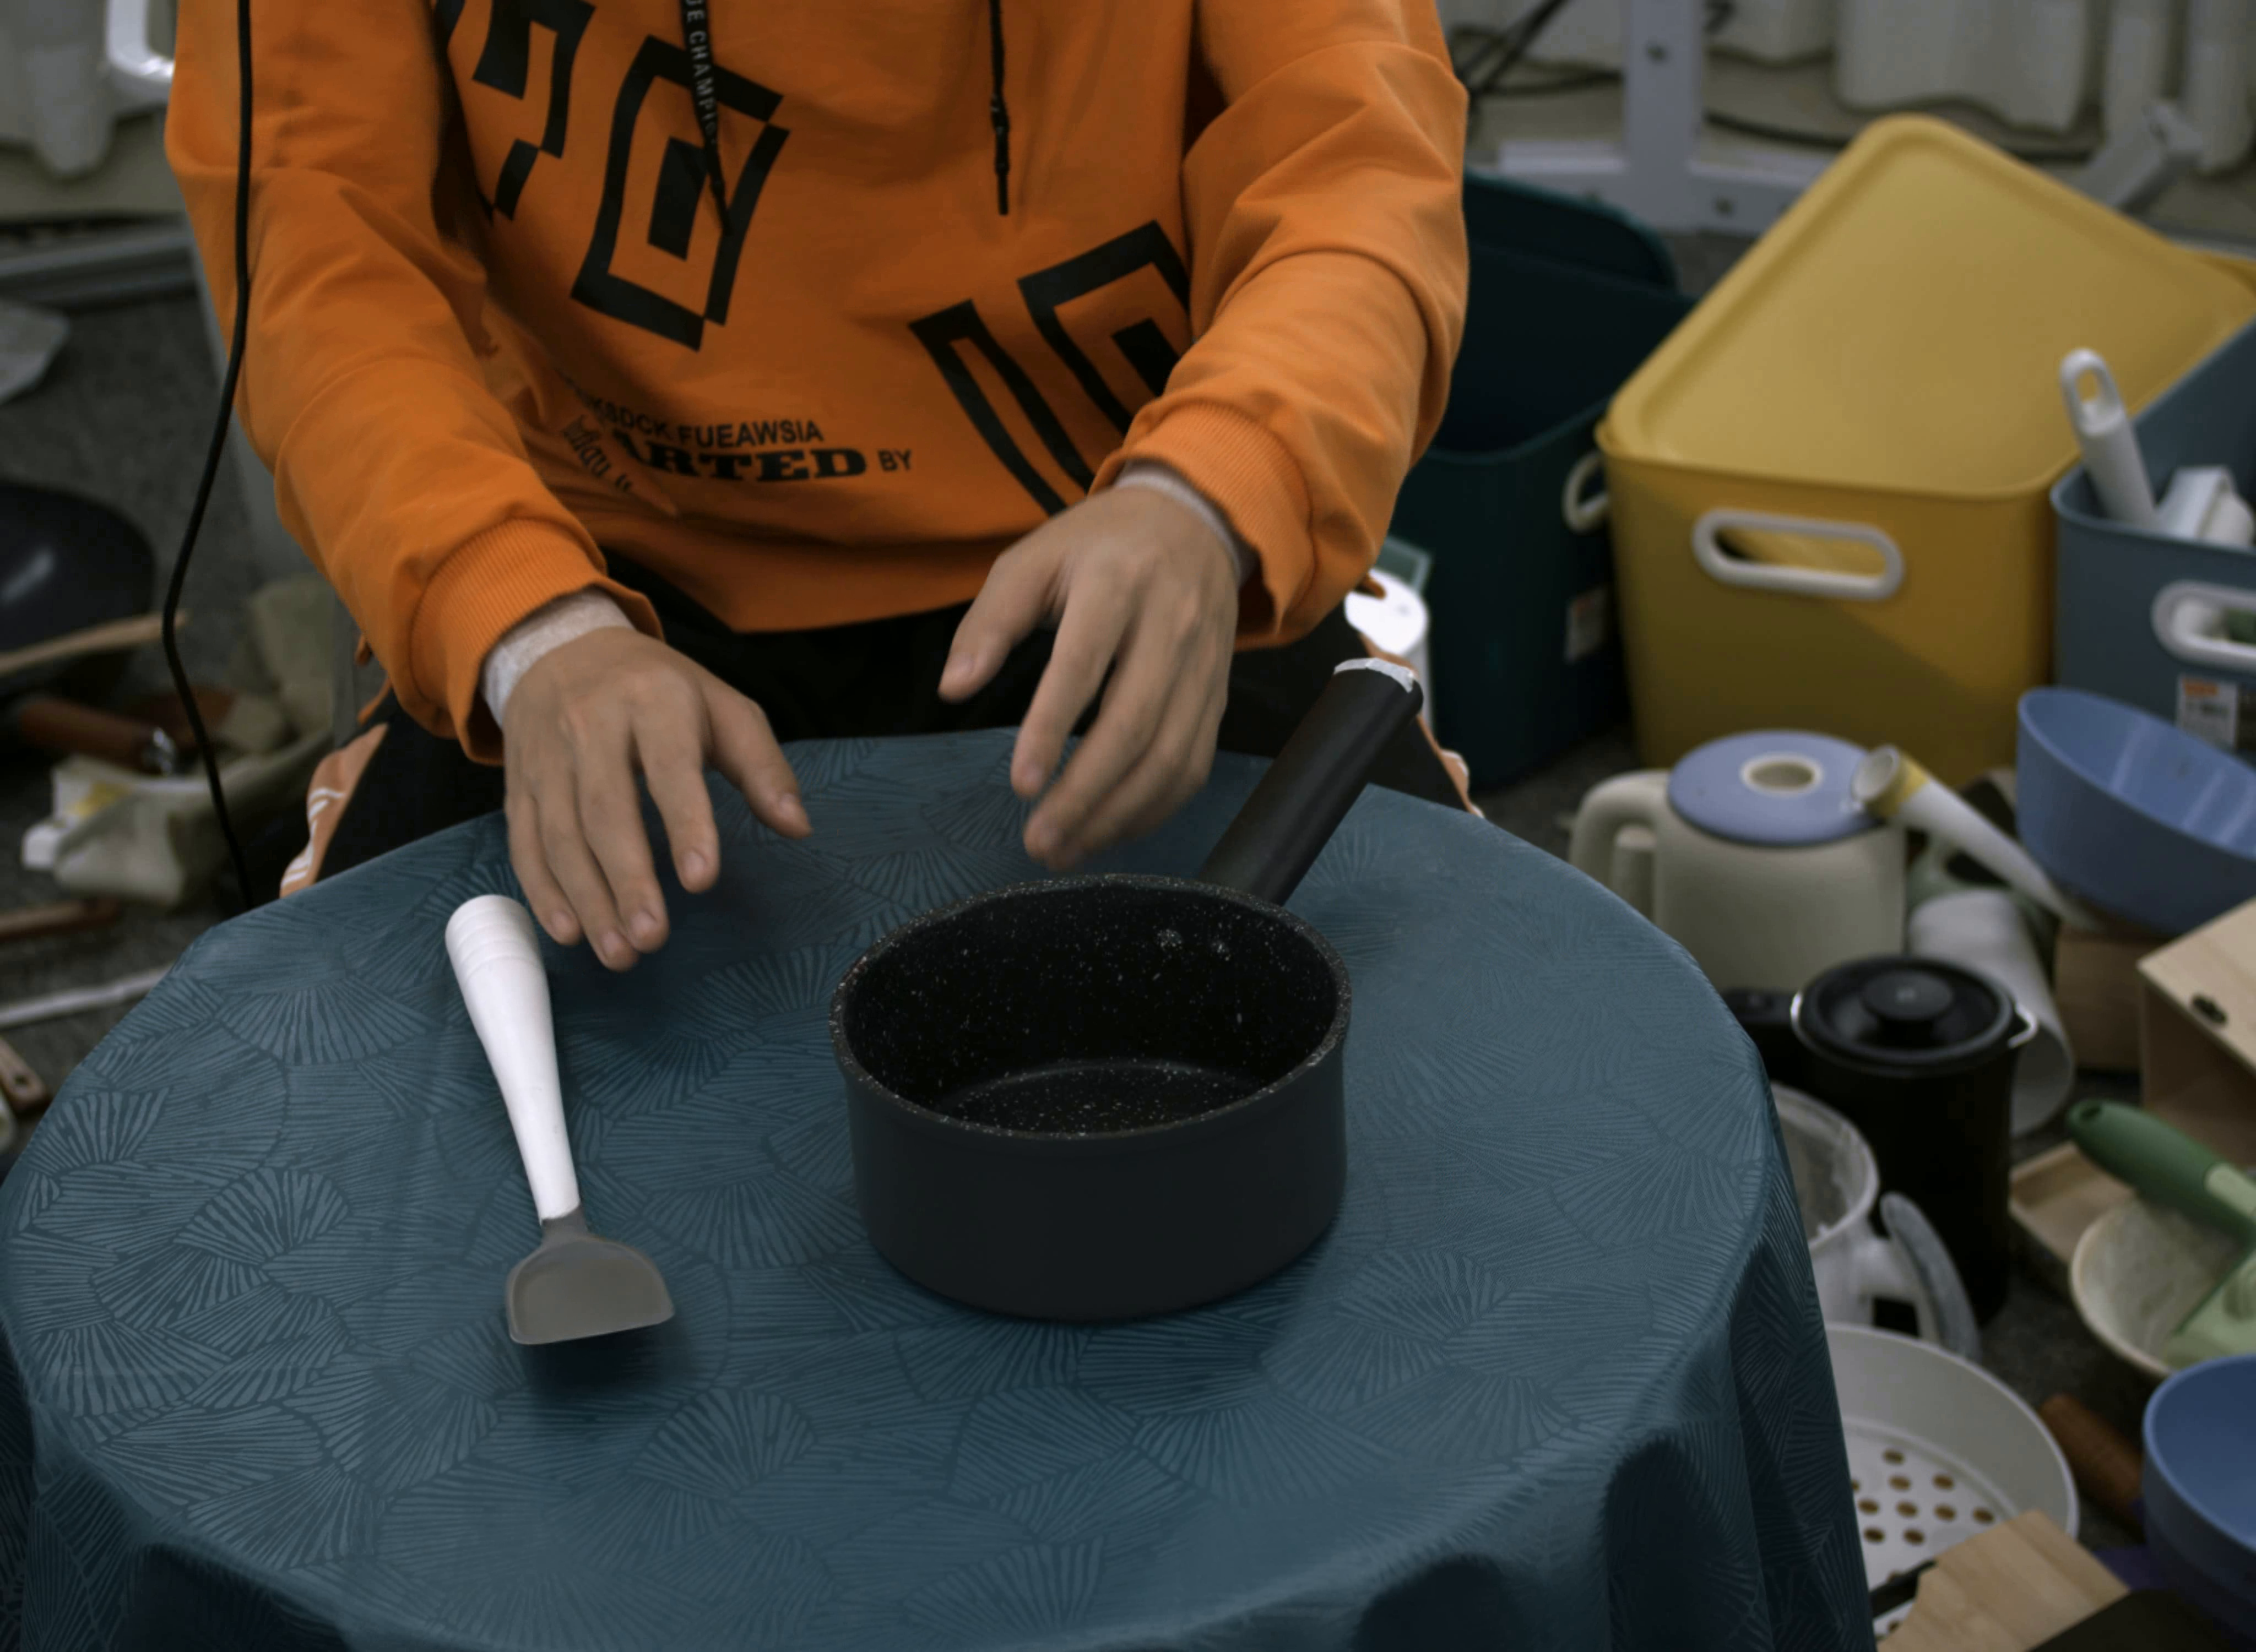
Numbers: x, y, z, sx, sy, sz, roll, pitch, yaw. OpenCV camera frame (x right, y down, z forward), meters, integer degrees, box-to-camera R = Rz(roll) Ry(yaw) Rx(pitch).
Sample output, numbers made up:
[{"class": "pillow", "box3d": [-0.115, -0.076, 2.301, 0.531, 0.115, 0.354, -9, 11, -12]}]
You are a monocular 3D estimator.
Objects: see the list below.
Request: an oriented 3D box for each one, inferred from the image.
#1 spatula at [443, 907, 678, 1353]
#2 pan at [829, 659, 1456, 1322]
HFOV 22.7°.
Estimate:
[{"class": "spatula", "box3d": [-0.196, 0.106, 1.878, 0.058, 0.032, 0.291, -4, 27, -12]}, {"class": "pan", "box3d": [0.026, 0.051, 1.904, 0.171, 0.085, 0.334, 12, 33, 25]}]
